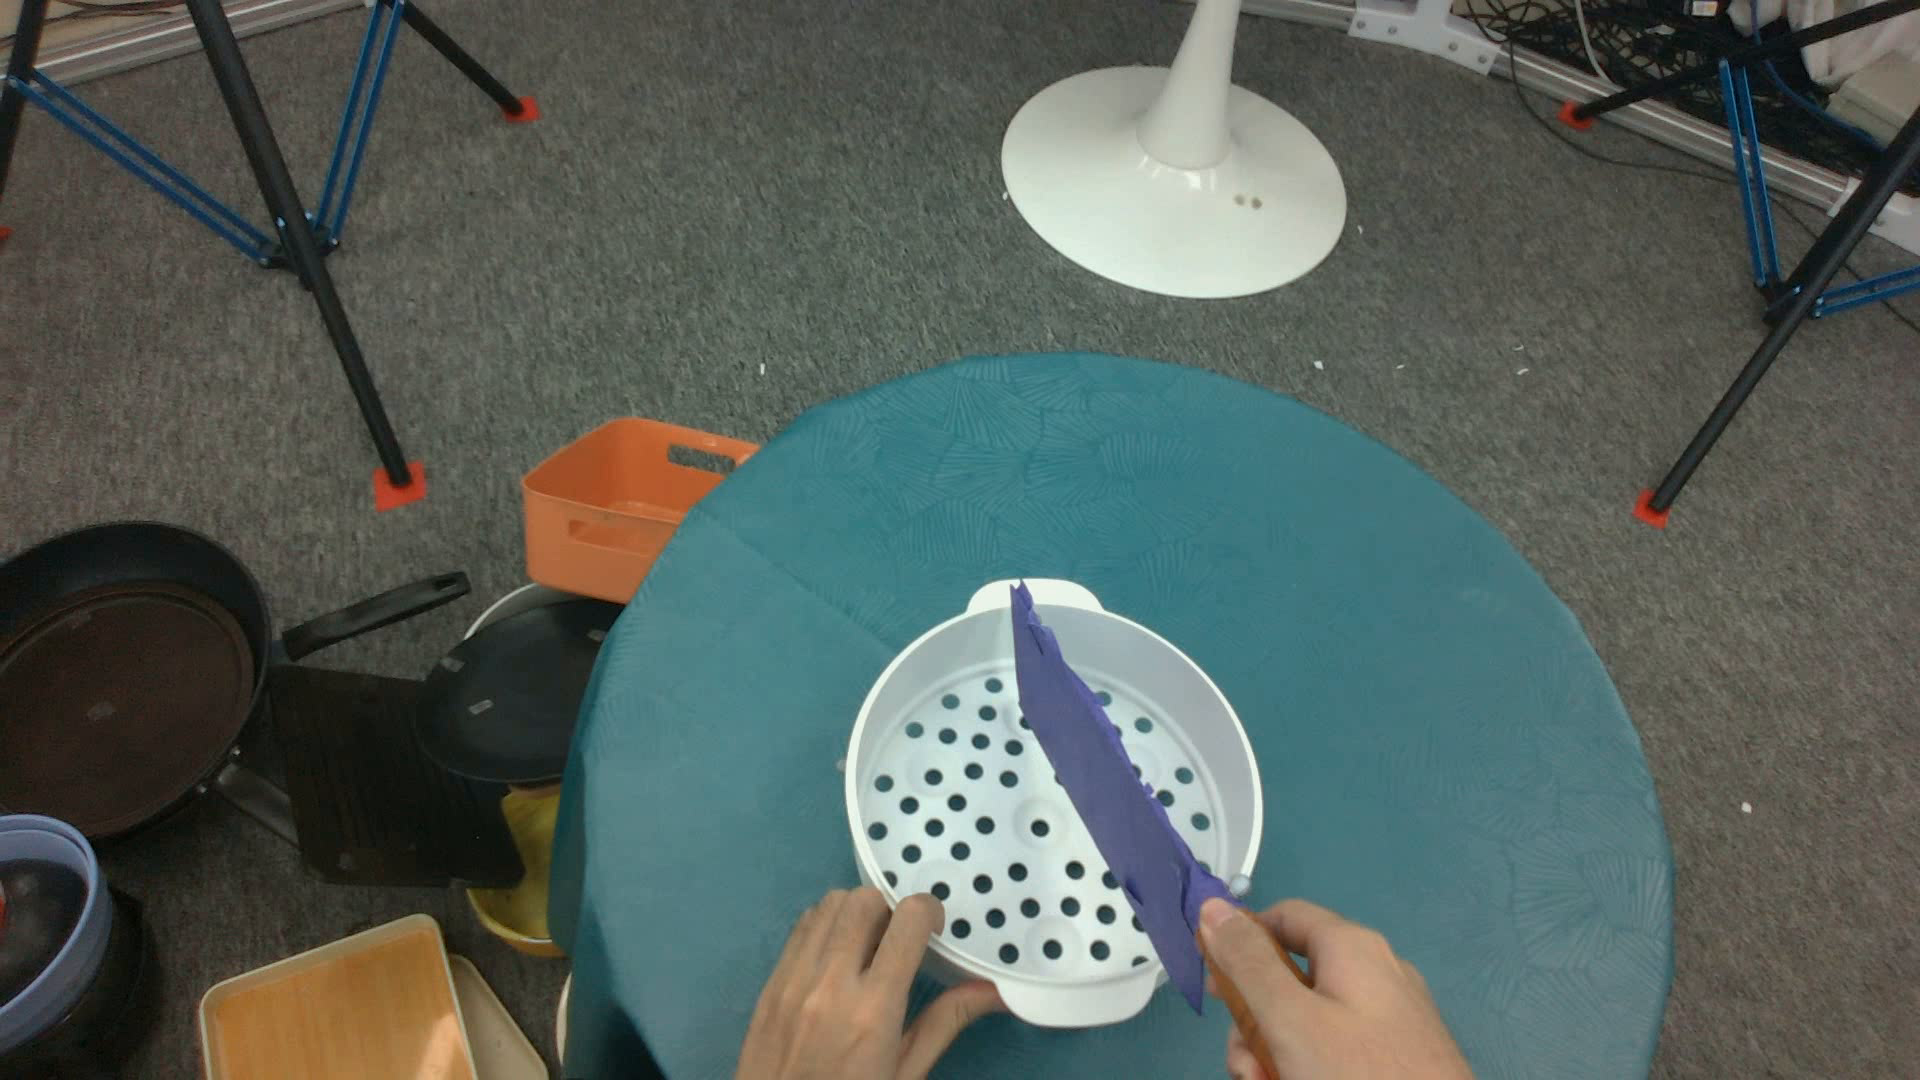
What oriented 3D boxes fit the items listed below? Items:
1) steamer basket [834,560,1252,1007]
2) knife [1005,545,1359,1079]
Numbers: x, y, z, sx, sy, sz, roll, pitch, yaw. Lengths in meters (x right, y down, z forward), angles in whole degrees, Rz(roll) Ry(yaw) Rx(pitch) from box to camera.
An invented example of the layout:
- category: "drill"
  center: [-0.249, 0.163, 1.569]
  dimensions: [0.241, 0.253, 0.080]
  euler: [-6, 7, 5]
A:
- category: "steamer basket"
  center: [0.039, 0.122, 0.688]
  dimensions: [0.202, 0.069, 0.231]
  euler: [-1, 57, -4]
- category: "knife"
  center: [0.079, 0.129, 0.593]
  dimensions: [0.032, 0.103, 0.316]
  euler: [-14, 39, -11]
